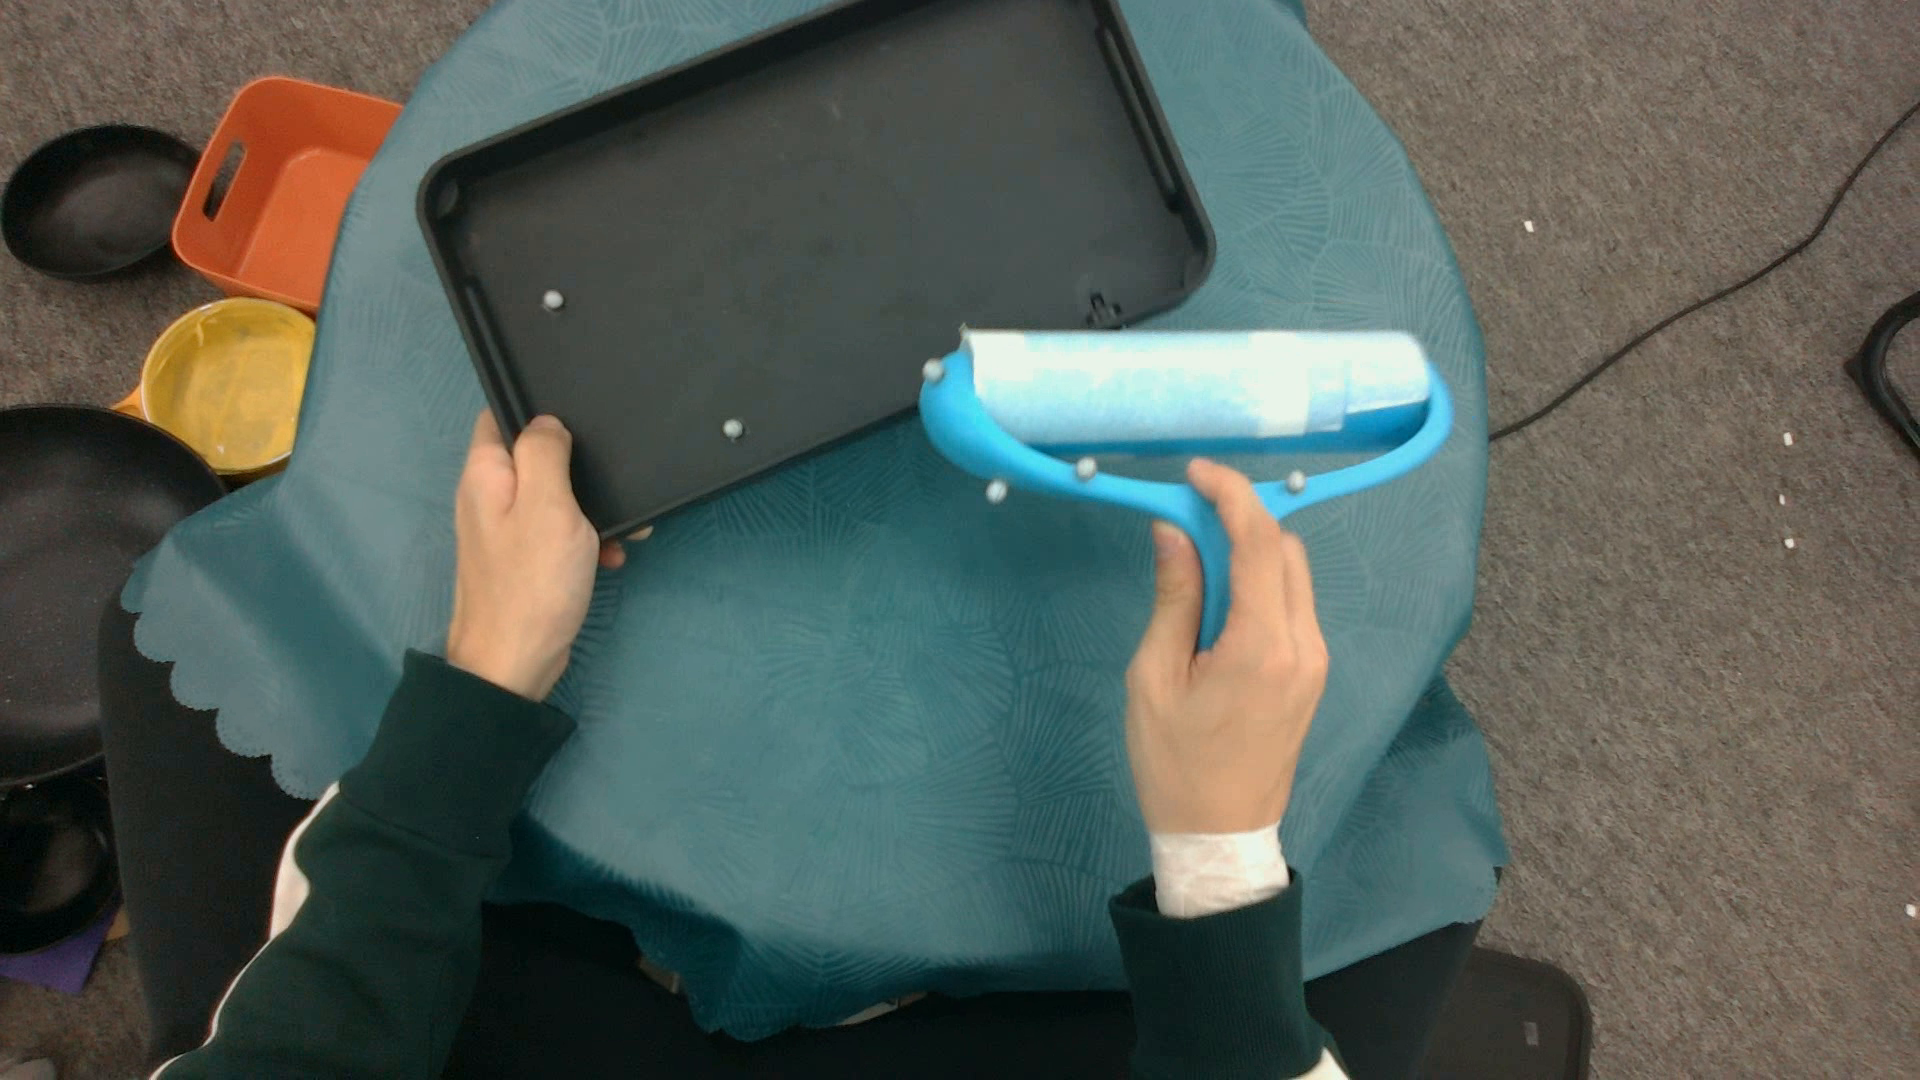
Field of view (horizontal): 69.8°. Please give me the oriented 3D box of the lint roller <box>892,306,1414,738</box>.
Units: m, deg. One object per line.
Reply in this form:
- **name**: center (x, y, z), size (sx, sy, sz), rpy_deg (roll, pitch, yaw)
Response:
- **lint roller**: center (0.094, -0.011, 0.573), size (0.229, 0.067, 0.180), rpy_deg (-7, 78, -16)

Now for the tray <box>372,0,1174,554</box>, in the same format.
- **tray**: center (-0.081, -0.137, 0.614), size (0.318, 0.037, 0.184), rpy_deg (-26, 87, -2)
